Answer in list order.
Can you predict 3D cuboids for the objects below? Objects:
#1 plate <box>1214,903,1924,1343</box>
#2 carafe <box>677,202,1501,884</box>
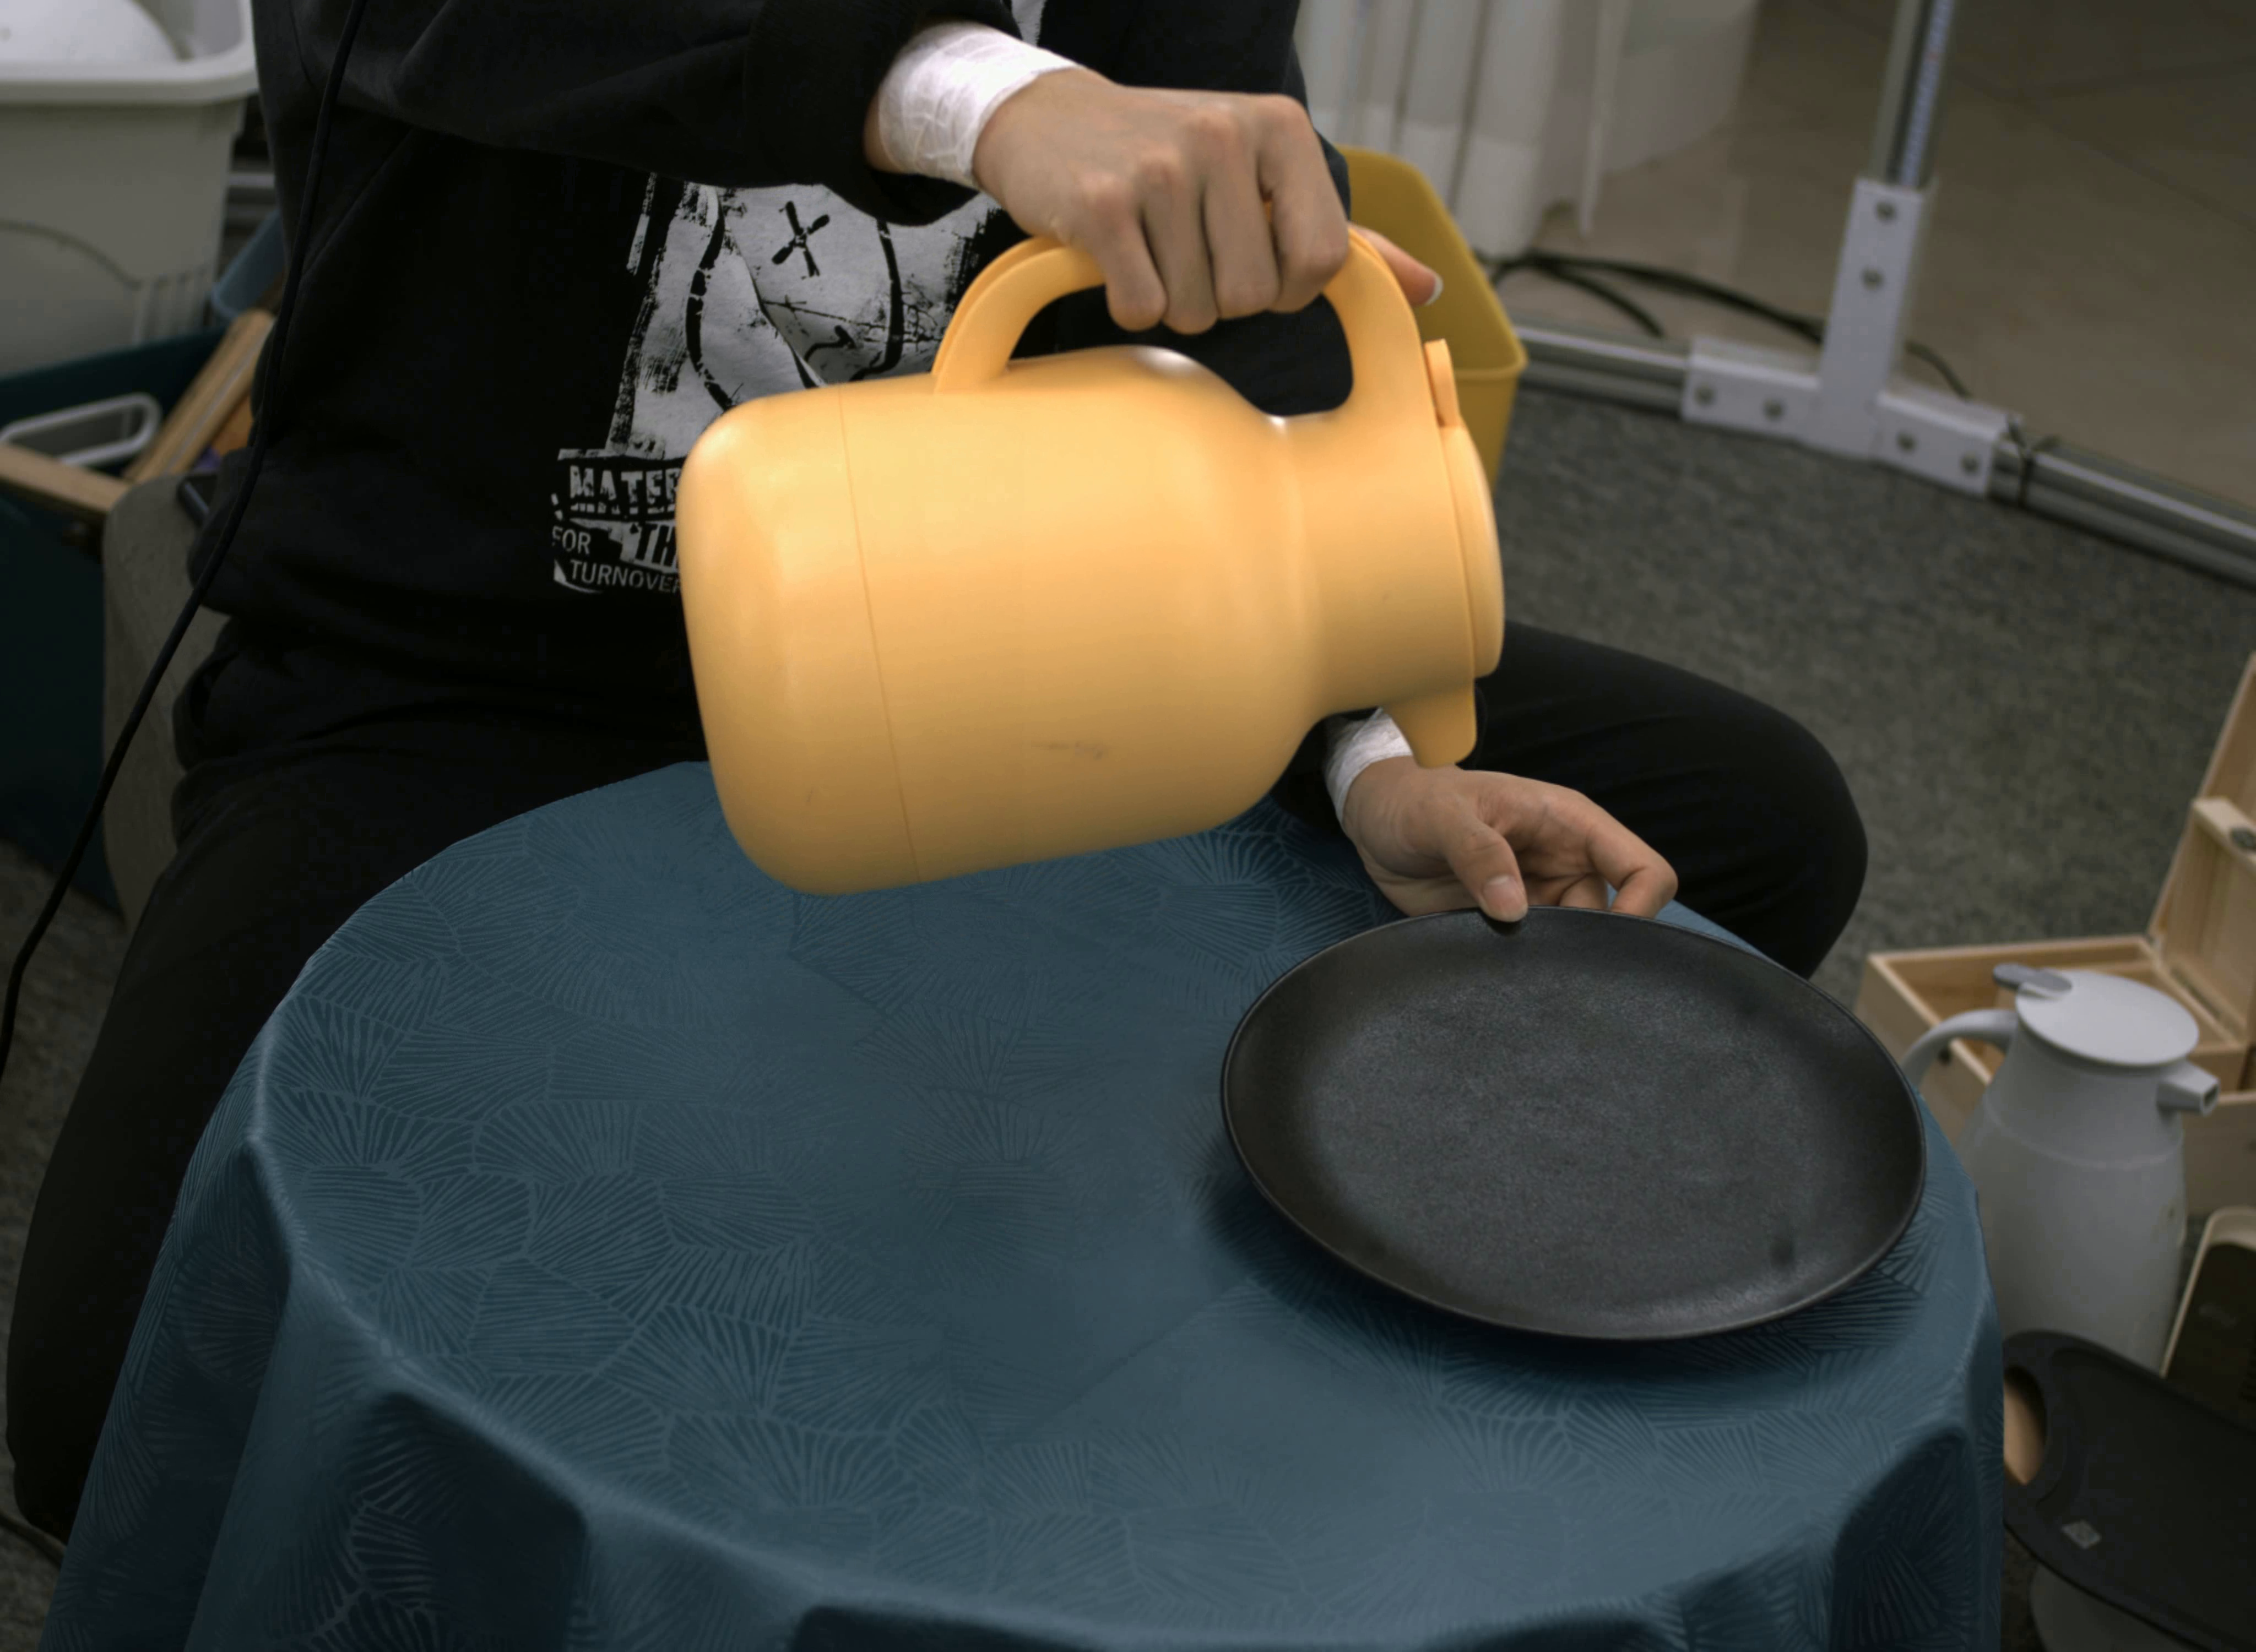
[{"bbox_3d":[0.150,0.106,1.823,0.243,0.023,0.246,3,34,-2],"label":"plate"},{"bbox_3d":[-0.014,-0.093,1.712,0.259,0.202,0.164,-8,16,-3],"label":"carafe"}]
